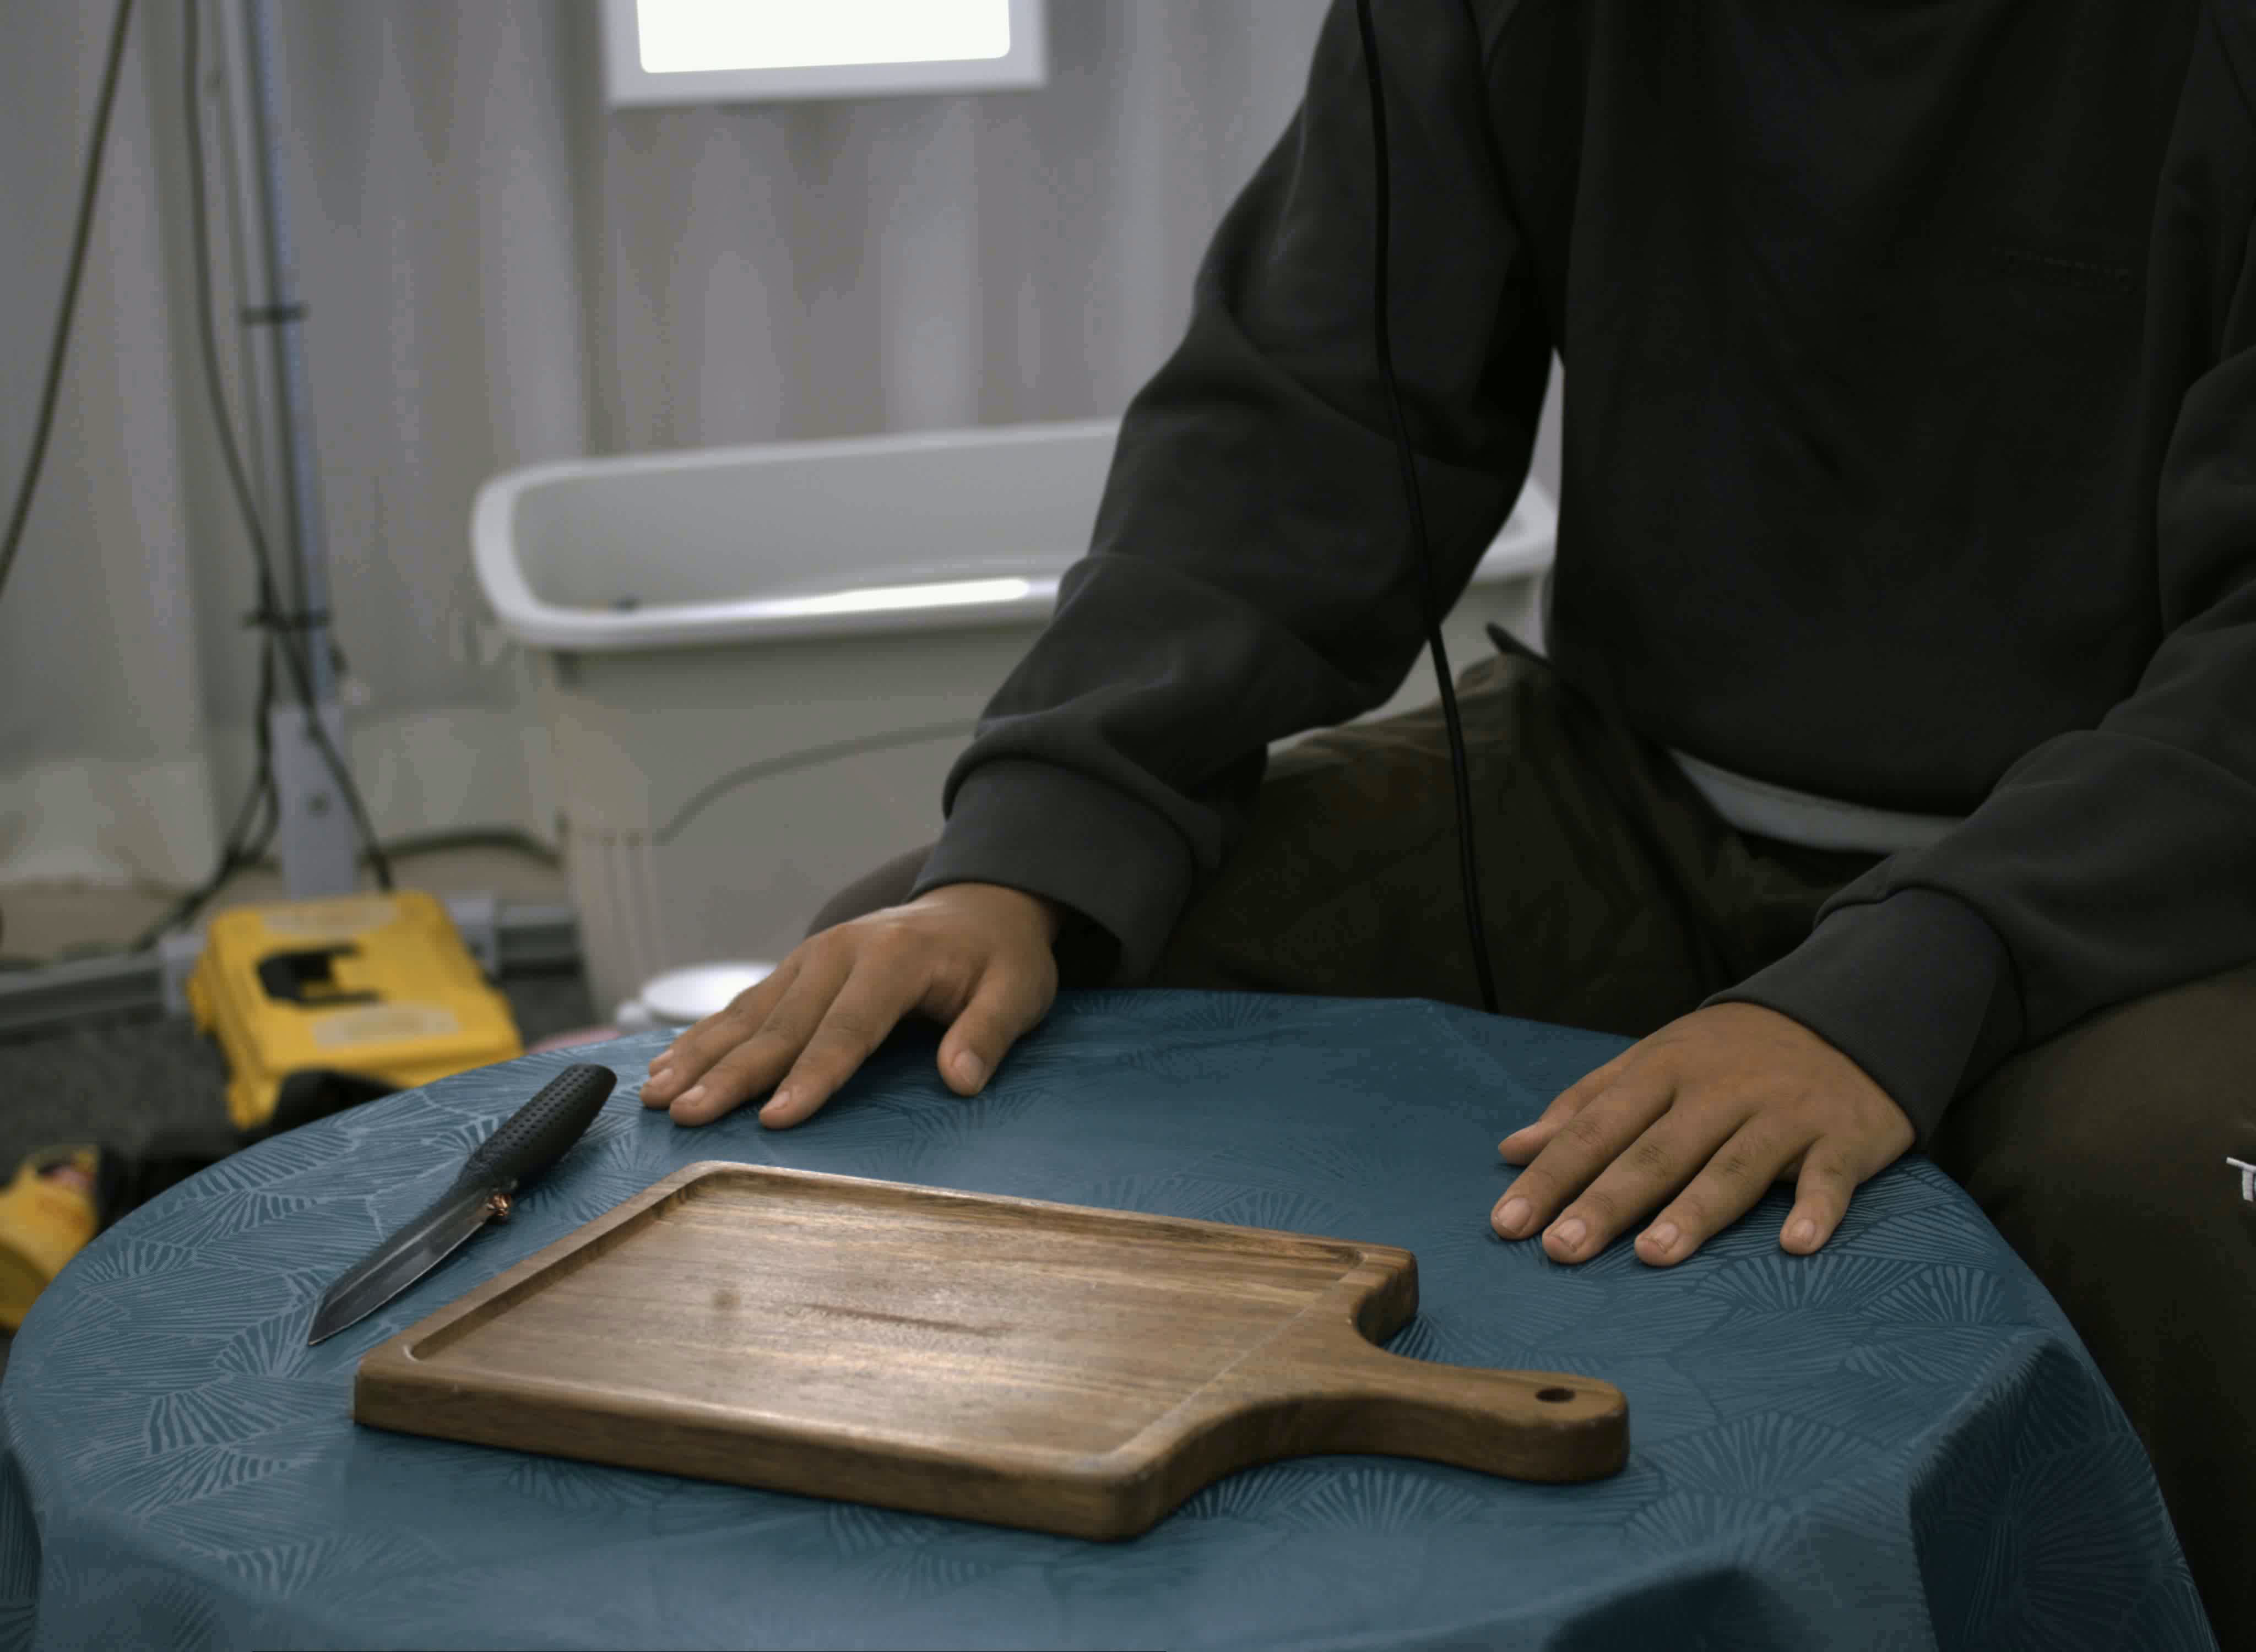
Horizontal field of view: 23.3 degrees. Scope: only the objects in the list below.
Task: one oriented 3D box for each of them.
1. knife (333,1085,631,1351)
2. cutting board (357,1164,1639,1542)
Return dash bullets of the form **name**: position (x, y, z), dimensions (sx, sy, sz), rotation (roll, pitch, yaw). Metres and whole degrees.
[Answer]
- **knife**: position (-0.204, 0.122, 1.708), dimensions (0.026, 0.017, 0.226), rotation (9, 18, 15)
- **cutting board**: position (-0.022, 0.150, 1.546), dimensions (0.353, 0.023, 0.201), rotation (5, 17, 26)
